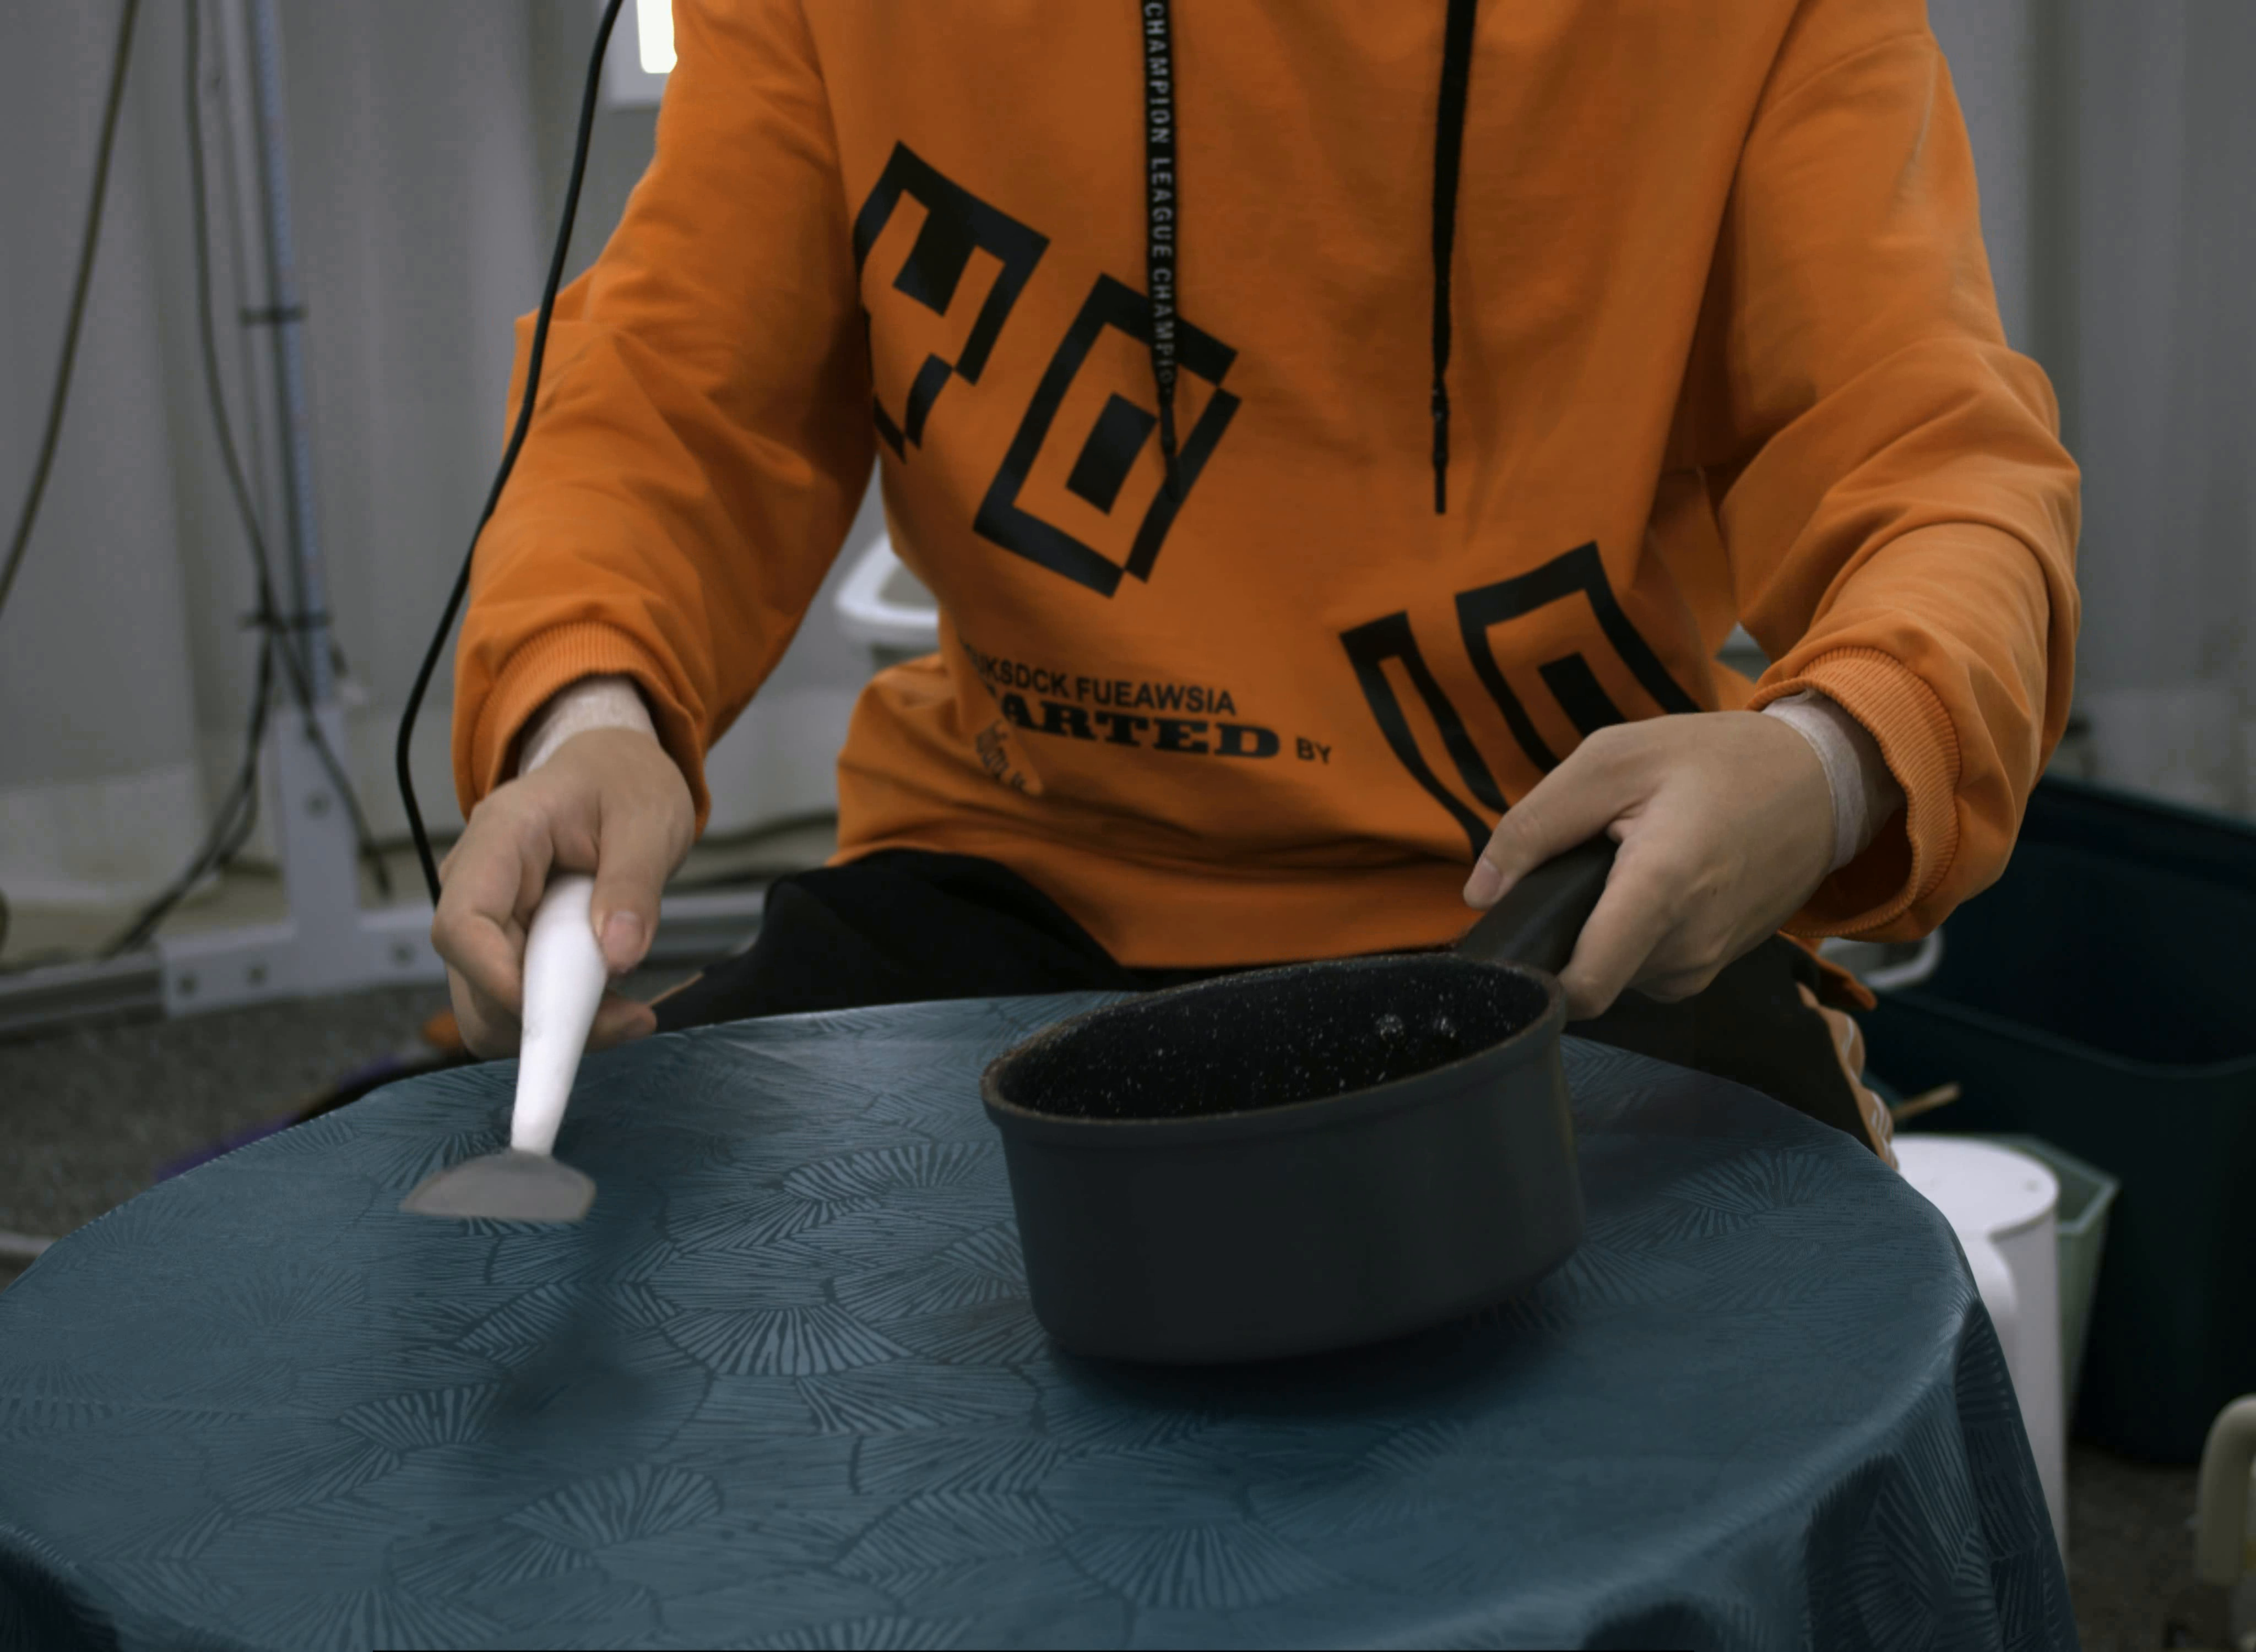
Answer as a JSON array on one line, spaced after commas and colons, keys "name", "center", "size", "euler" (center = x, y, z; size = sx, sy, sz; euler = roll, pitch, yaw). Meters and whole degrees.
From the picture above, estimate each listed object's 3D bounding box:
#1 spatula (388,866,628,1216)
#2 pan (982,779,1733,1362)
[{"name": "spatula", "center": [-0.179, 0.071, 1.659], "size": [0.058, 0.032, 0.290], "euler": [8, 17, -3]}, {"name": "pan", "center": [0.092, 0.071, 1.640], "size": [0.172, 0.086, 0.329], "euler": [-1, 16, 36]}]
